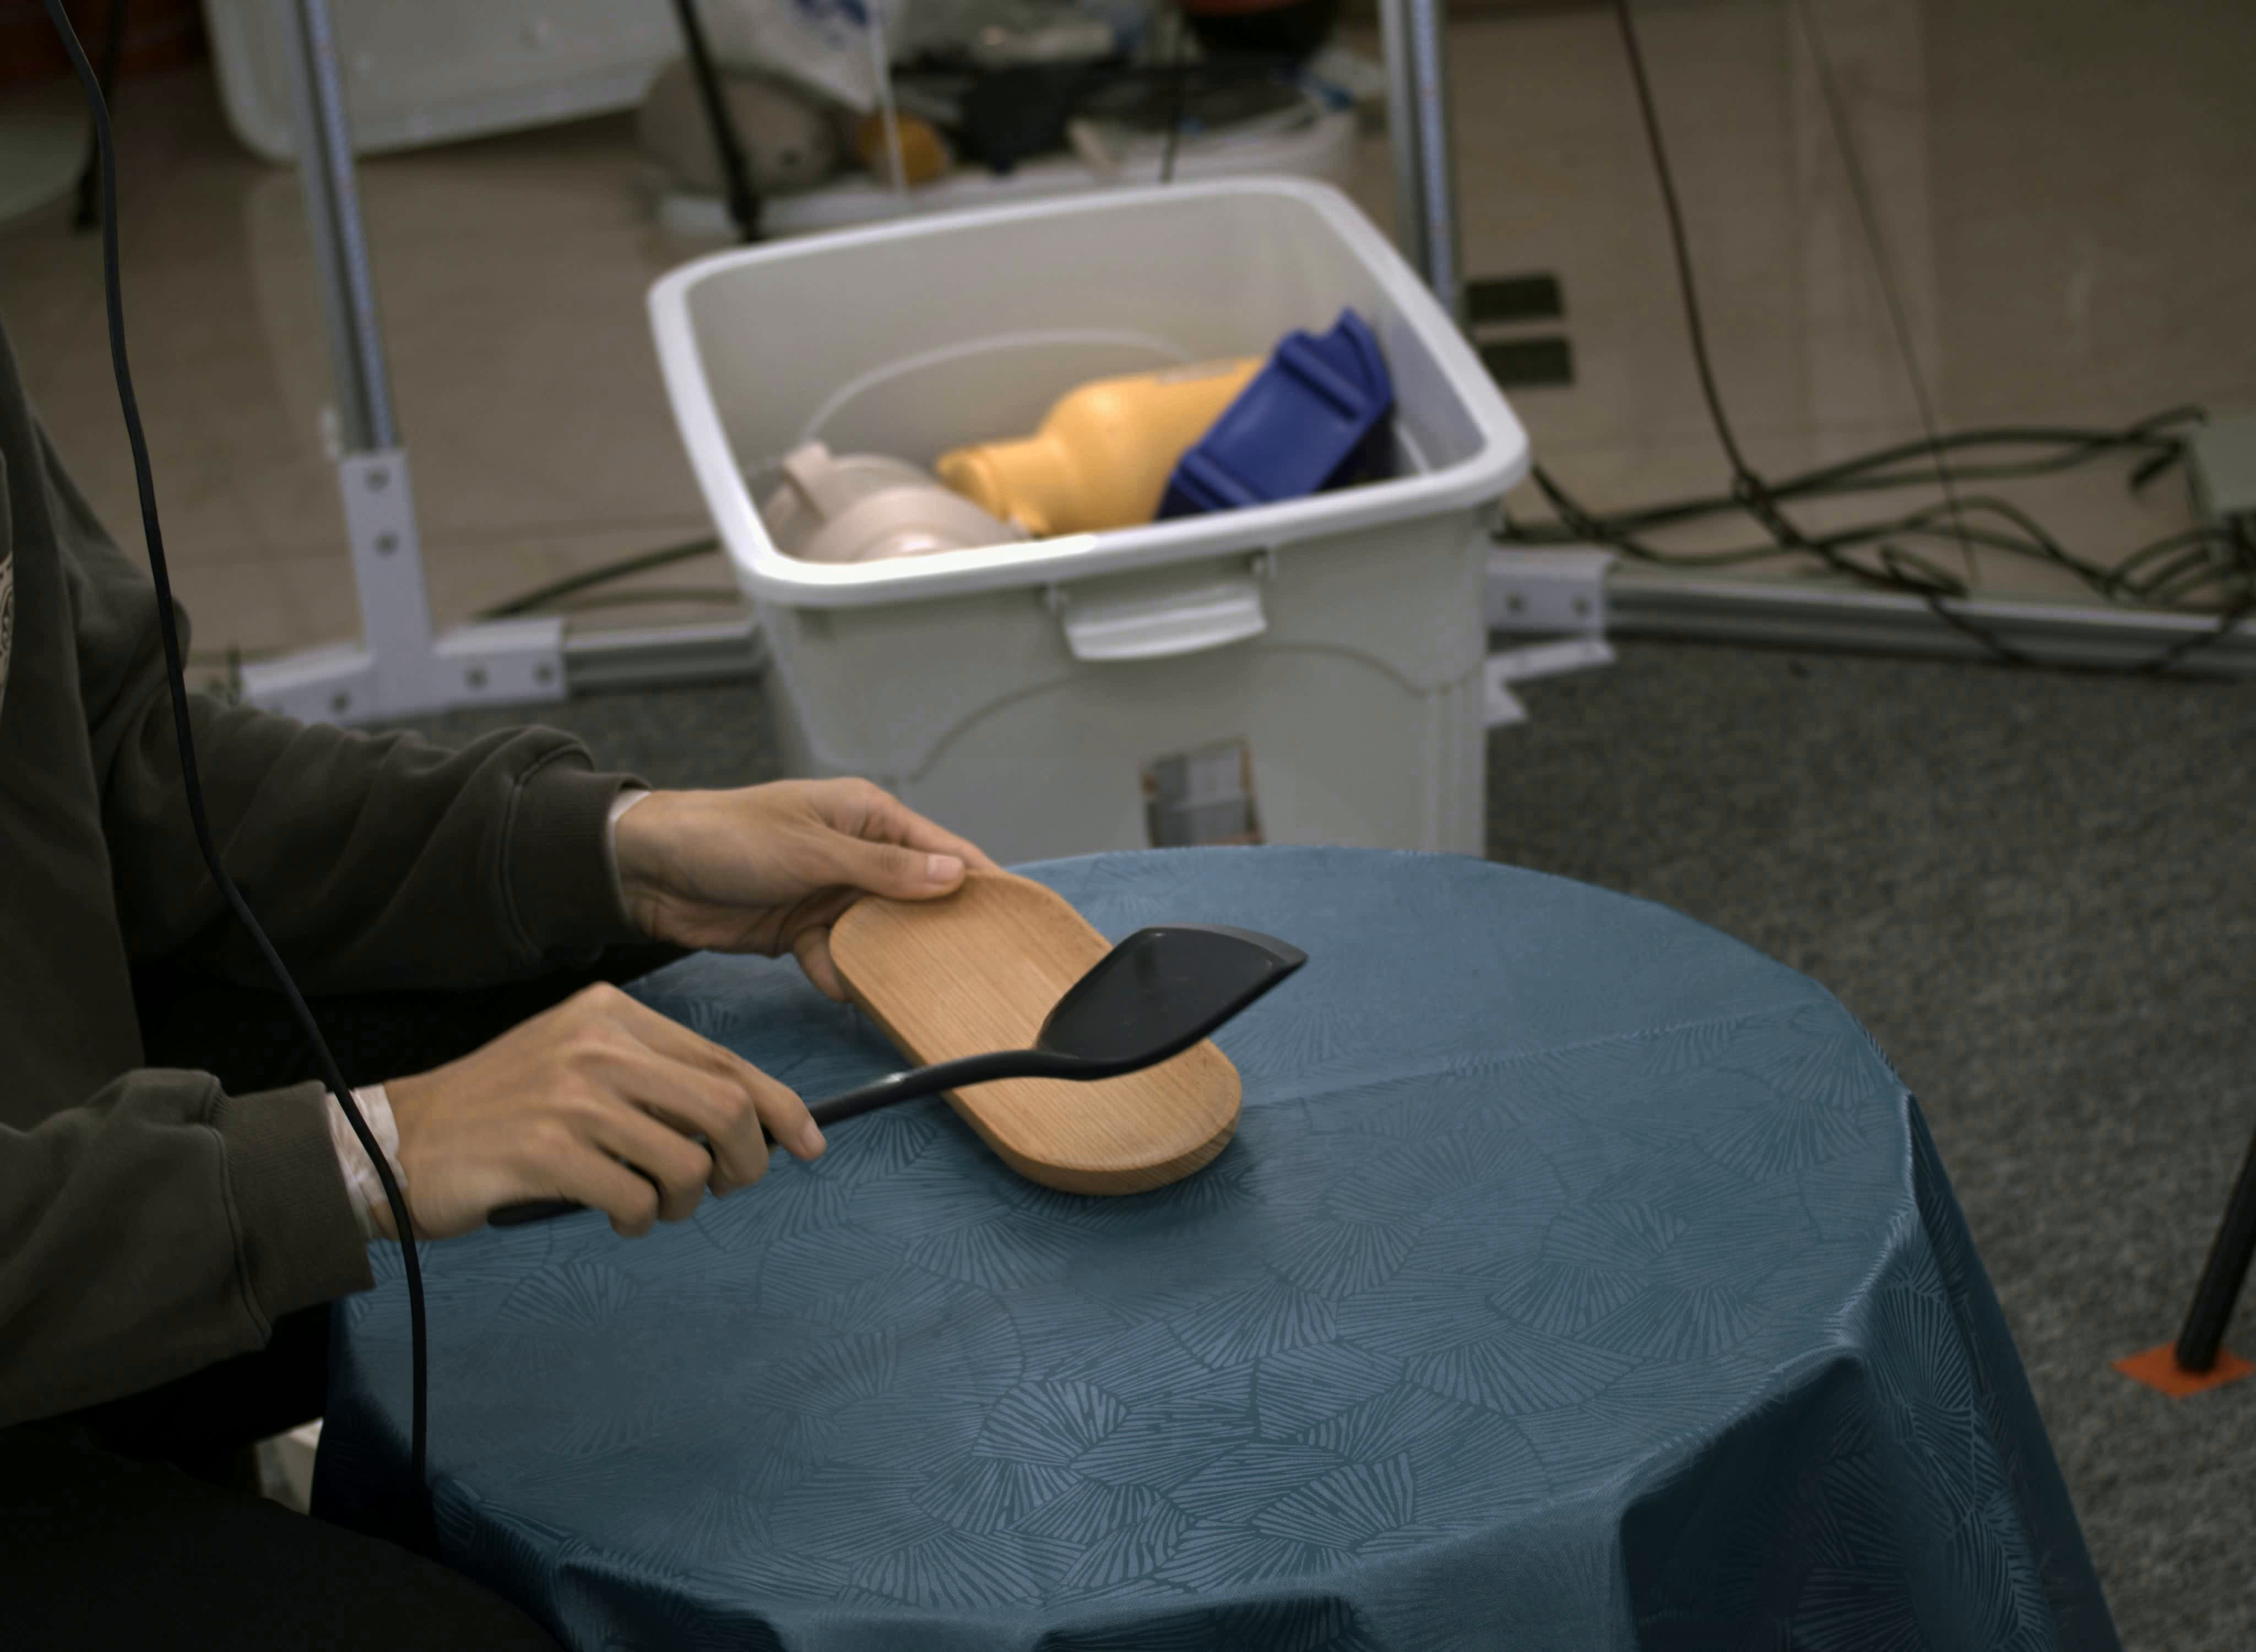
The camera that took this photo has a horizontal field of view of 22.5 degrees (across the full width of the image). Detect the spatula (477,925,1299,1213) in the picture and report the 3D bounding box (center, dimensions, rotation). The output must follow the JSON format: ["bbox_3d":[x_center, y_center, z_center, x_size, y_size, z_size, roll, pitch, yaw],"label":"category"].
[{"bbox_3d":[-0.090,0.087,2.029,0.325,0.040,0.099,-12,12,-32],"label":"spatula"}]

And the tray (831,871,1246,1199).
[{"bbox_3d":[-0.037,0.080,2.224,0.101,0.021,0.228,-20,38,-22],"label":"tray"}]
